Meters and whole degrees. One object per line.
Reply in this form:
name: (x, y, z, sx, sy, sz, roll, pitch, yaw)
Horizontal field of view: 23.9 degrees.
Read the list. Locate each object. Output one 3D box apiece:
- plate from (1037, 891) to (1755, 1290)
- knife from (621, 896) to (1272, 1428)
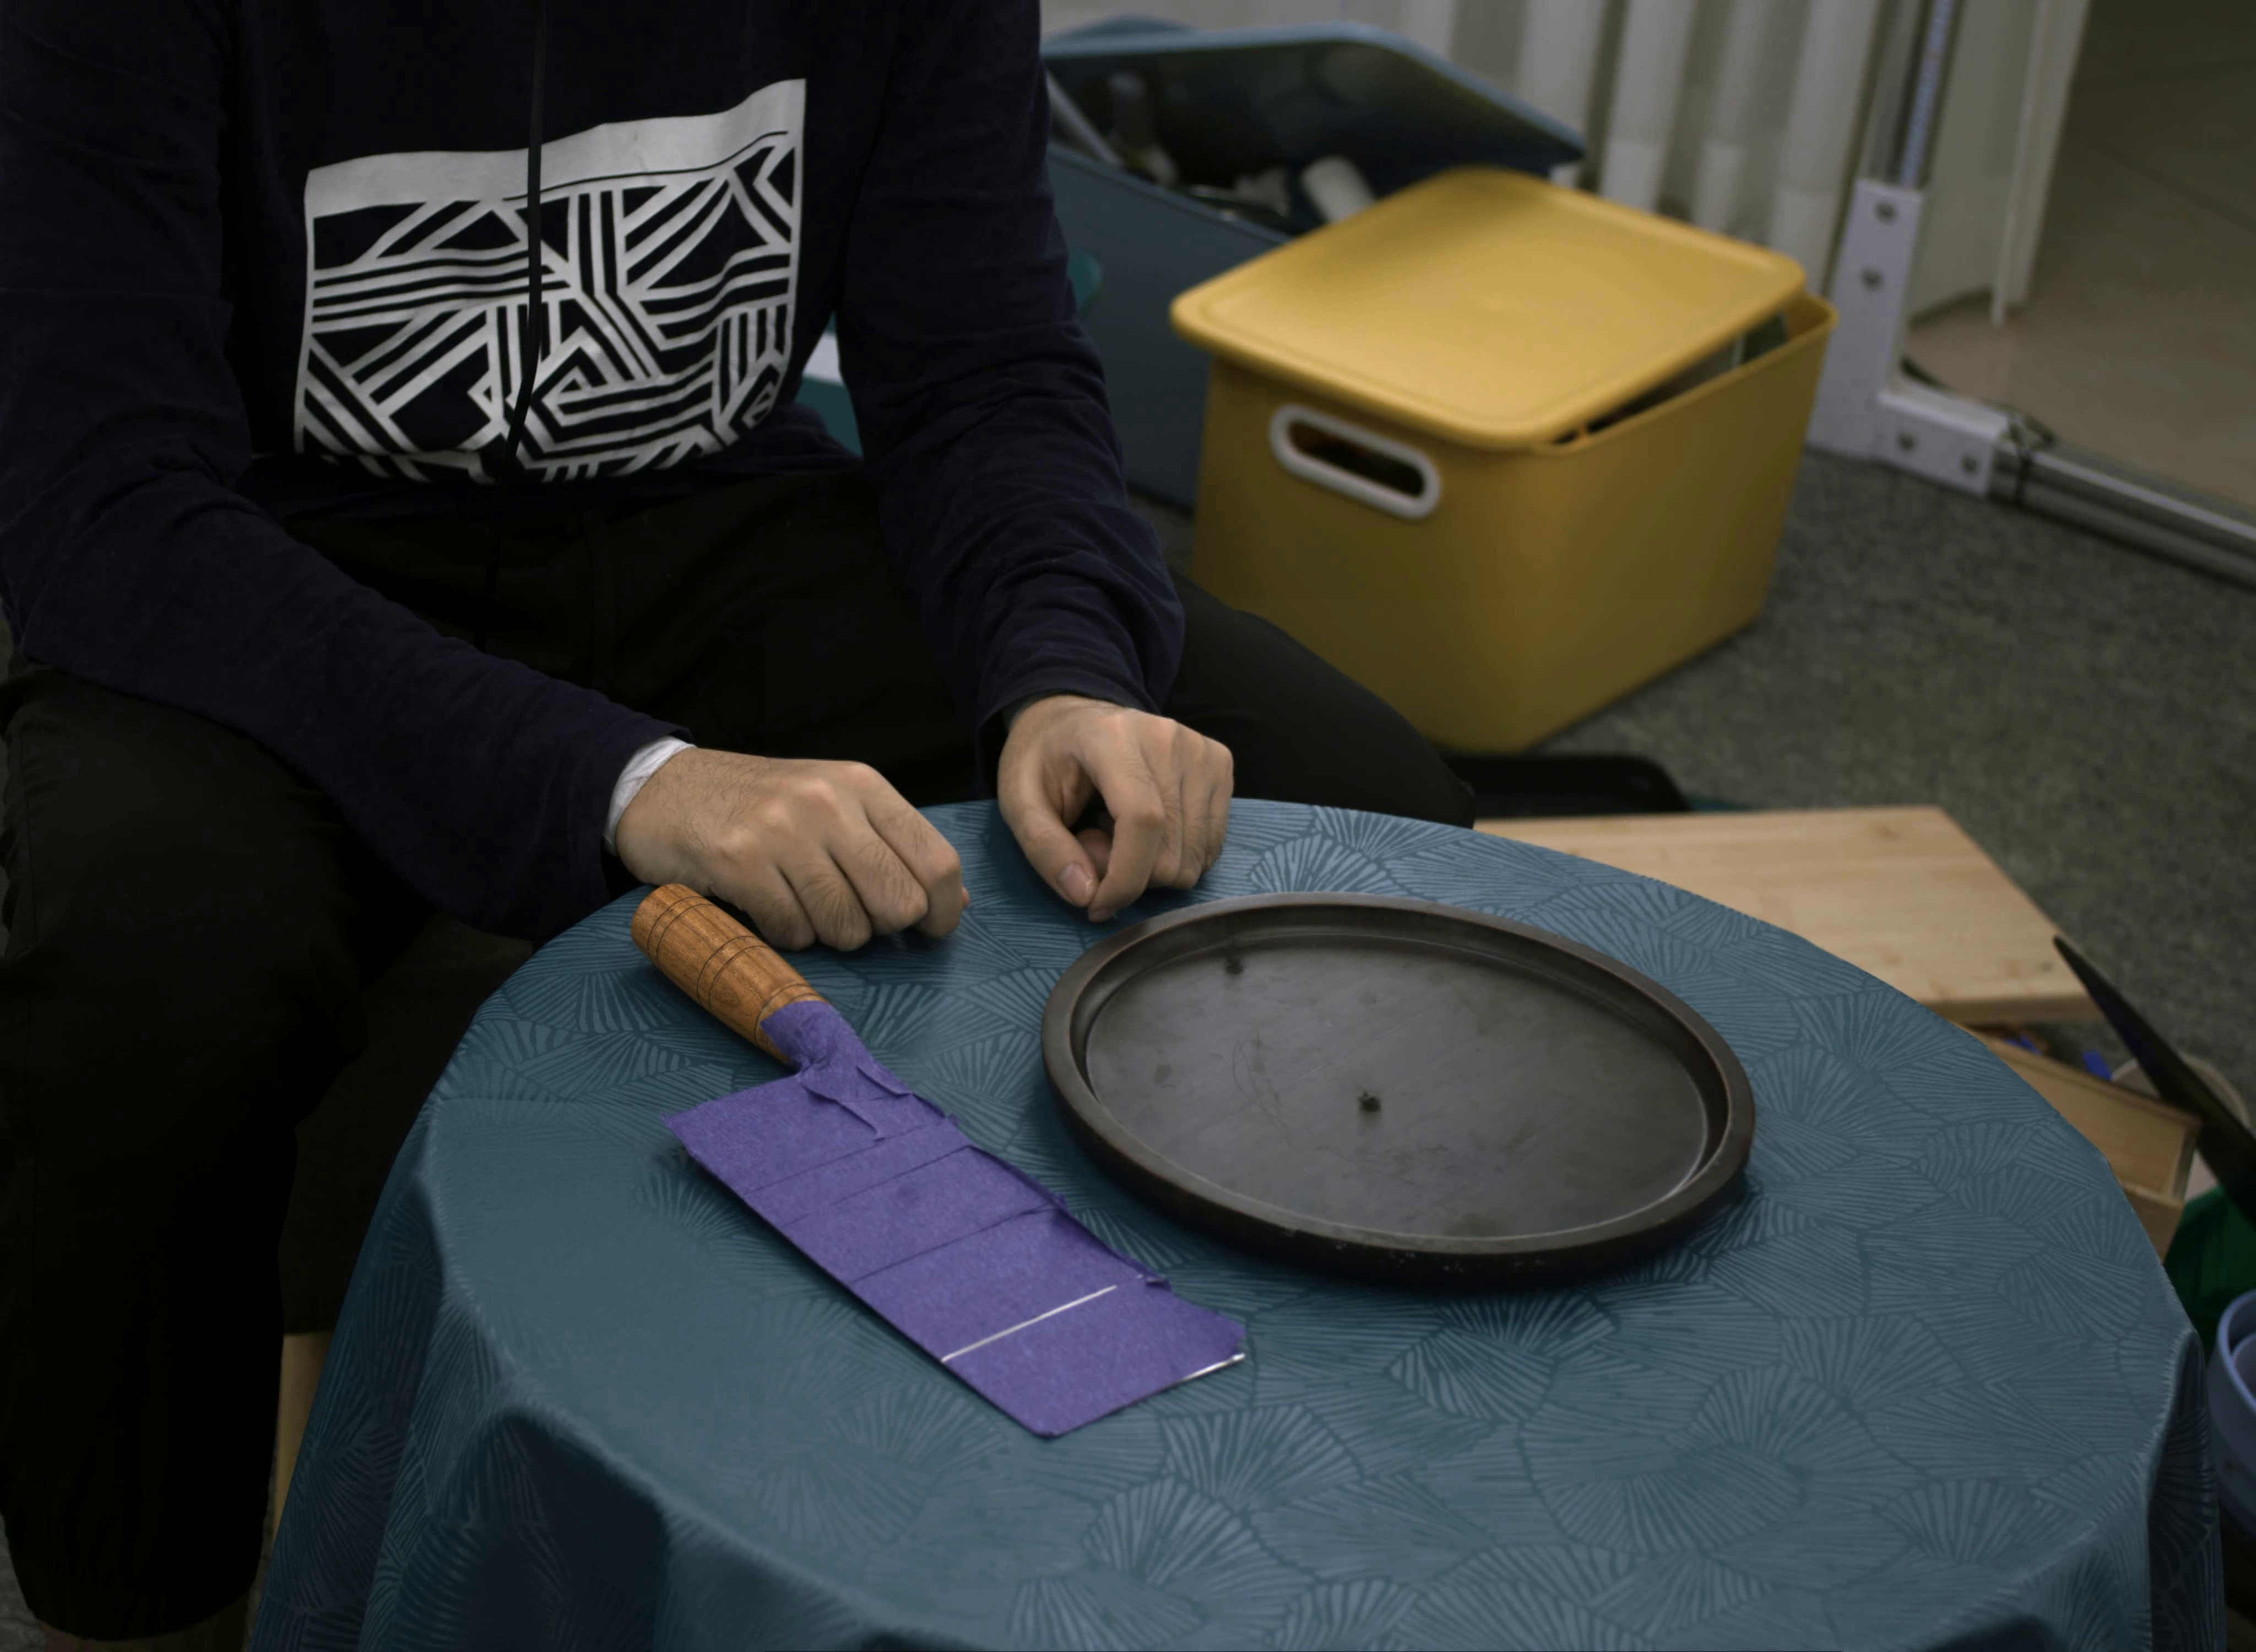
plate: (0.093, 0.091, 1.864, 0.254, 0.029, 0.256, 5, 28, -3)
knife: (-0.091, 0.108, 1.786, 0.103, 0.032, 0.318, -16, 35, -38)
